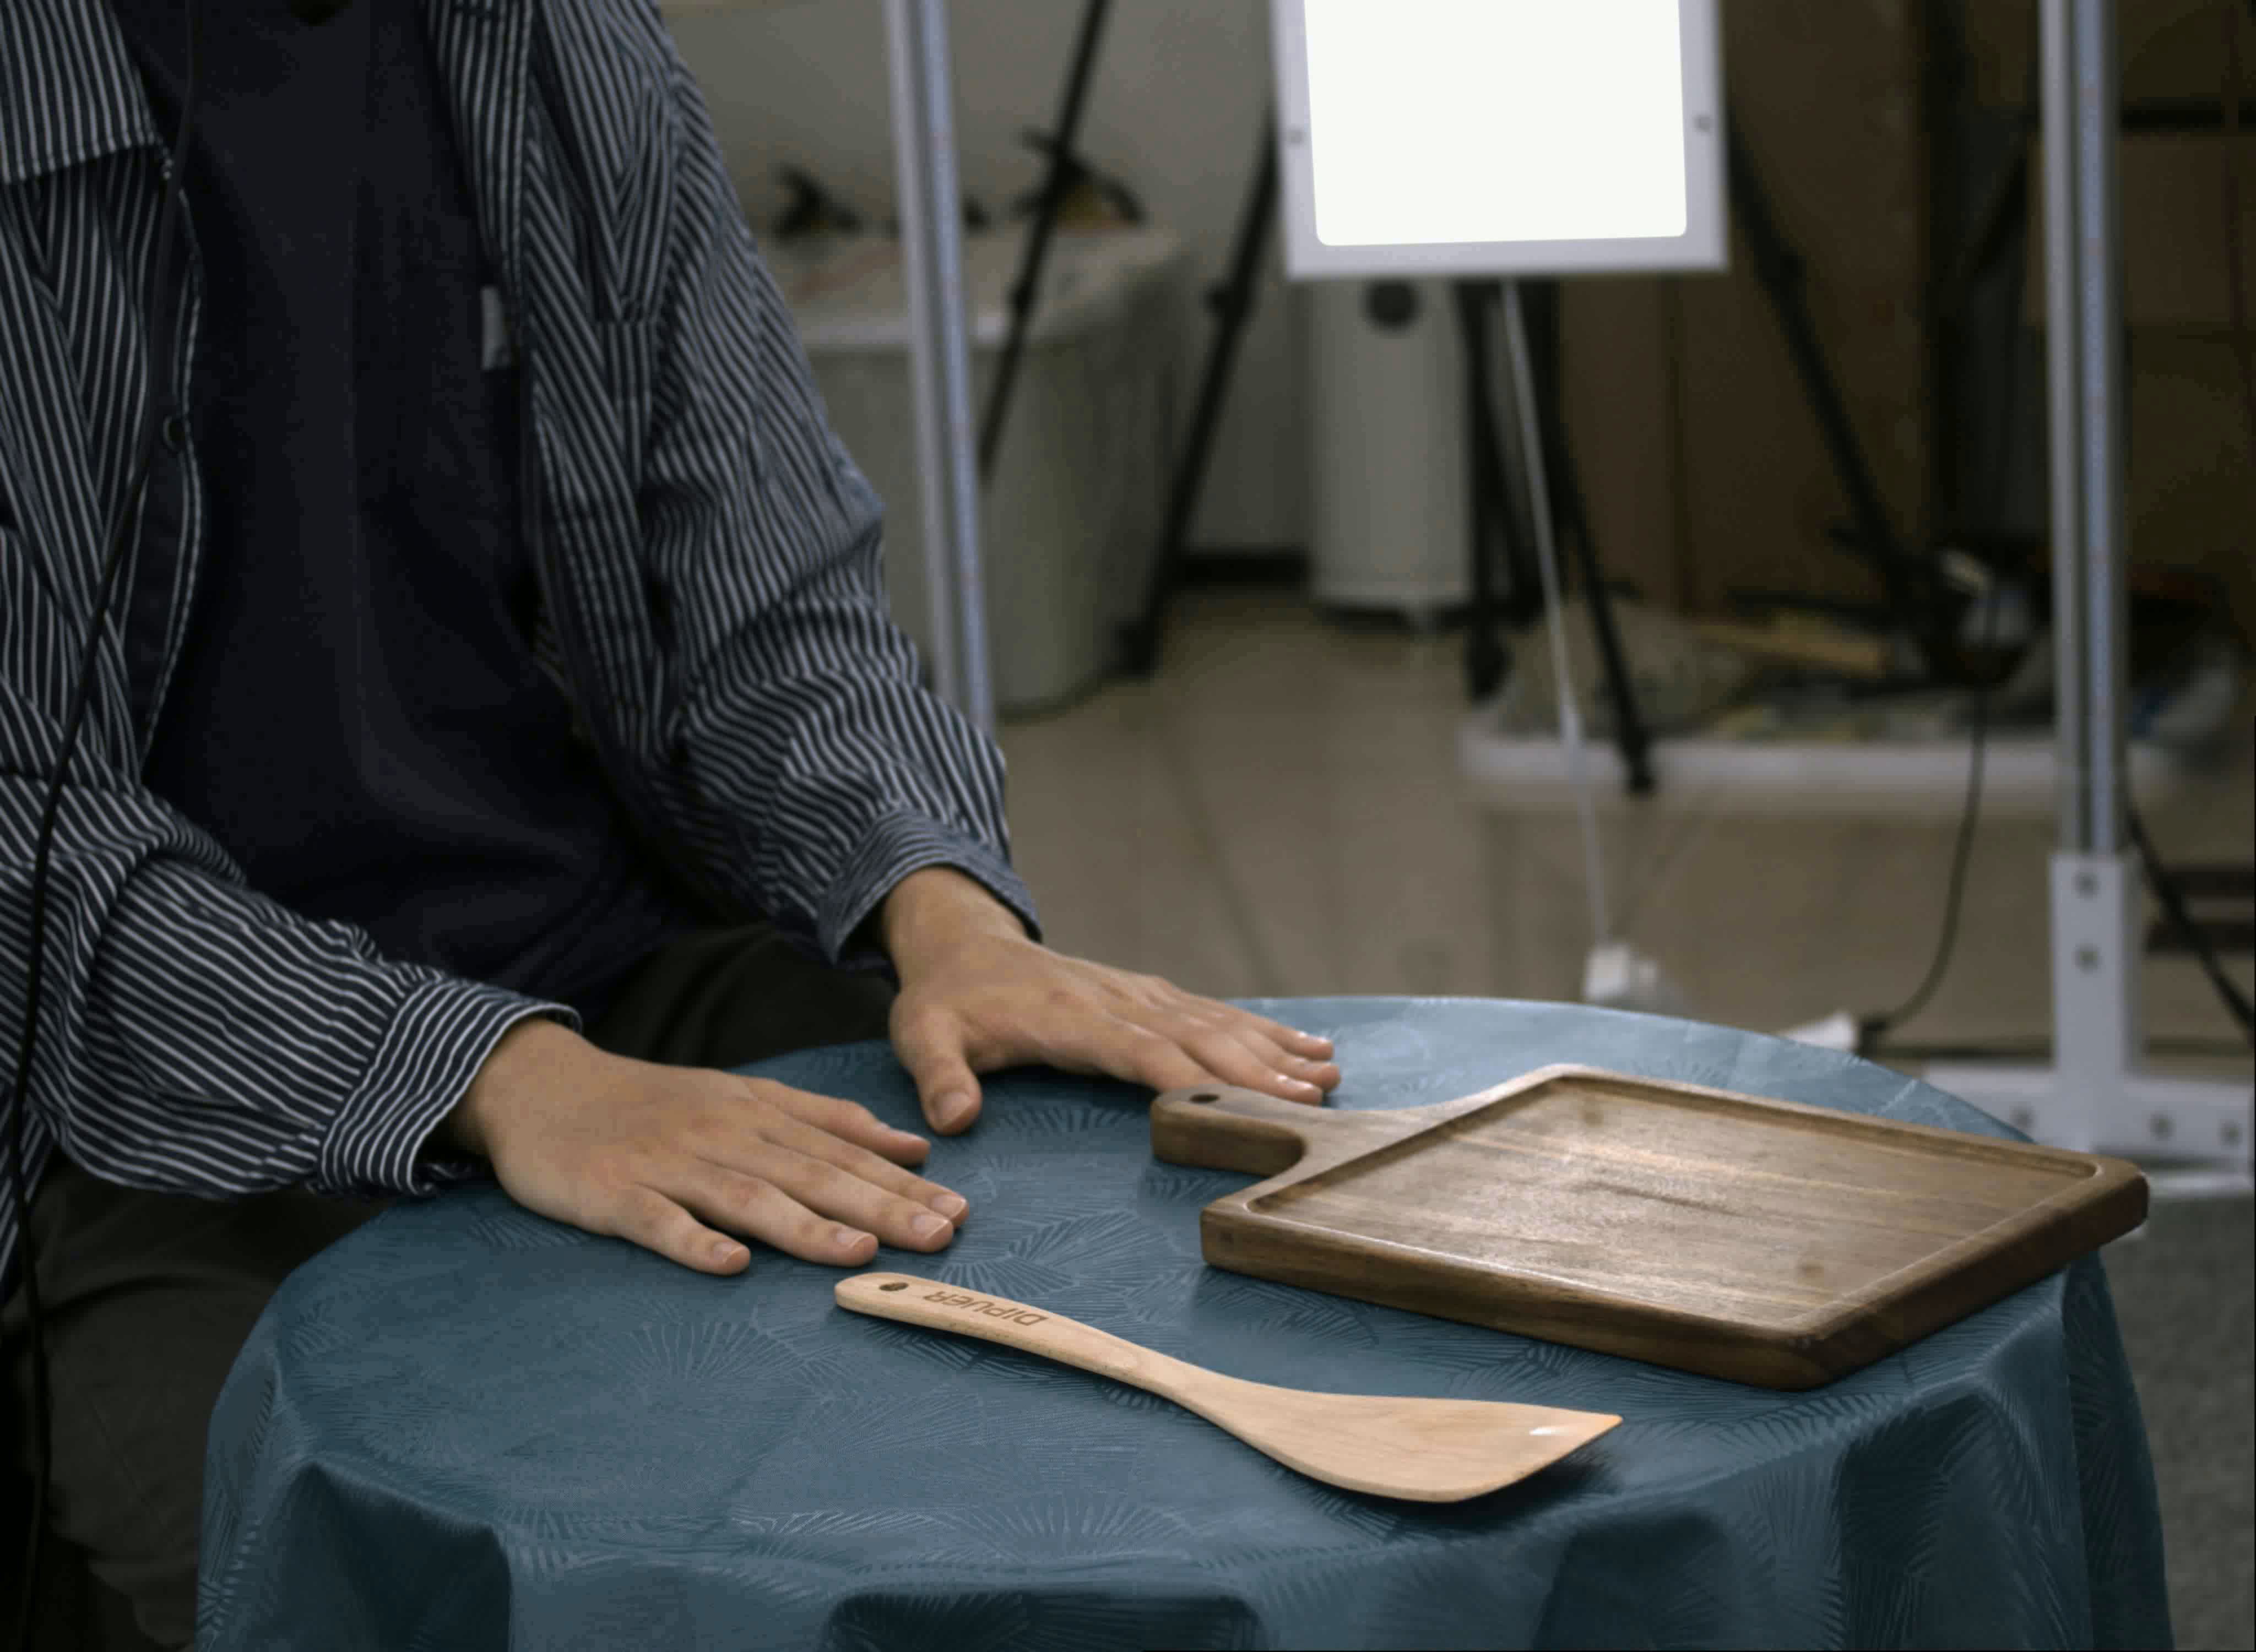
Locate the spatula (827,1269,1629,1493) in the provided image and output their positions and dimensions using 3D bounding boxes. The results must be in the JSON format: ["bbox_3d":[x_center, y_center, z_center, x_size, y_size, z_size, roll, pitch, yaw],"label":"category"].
[{"bbox_3d":[0.019,0.165,1.693,0.078,0.016,0.334,-16,17,-40],"label":"spatula"}]

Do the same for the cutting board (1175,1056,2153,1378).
[{"bbox_3d":[0.152,0.118,1.827,0.360,0.023,0.196,8,19,44],"label":"cutting board"}]
